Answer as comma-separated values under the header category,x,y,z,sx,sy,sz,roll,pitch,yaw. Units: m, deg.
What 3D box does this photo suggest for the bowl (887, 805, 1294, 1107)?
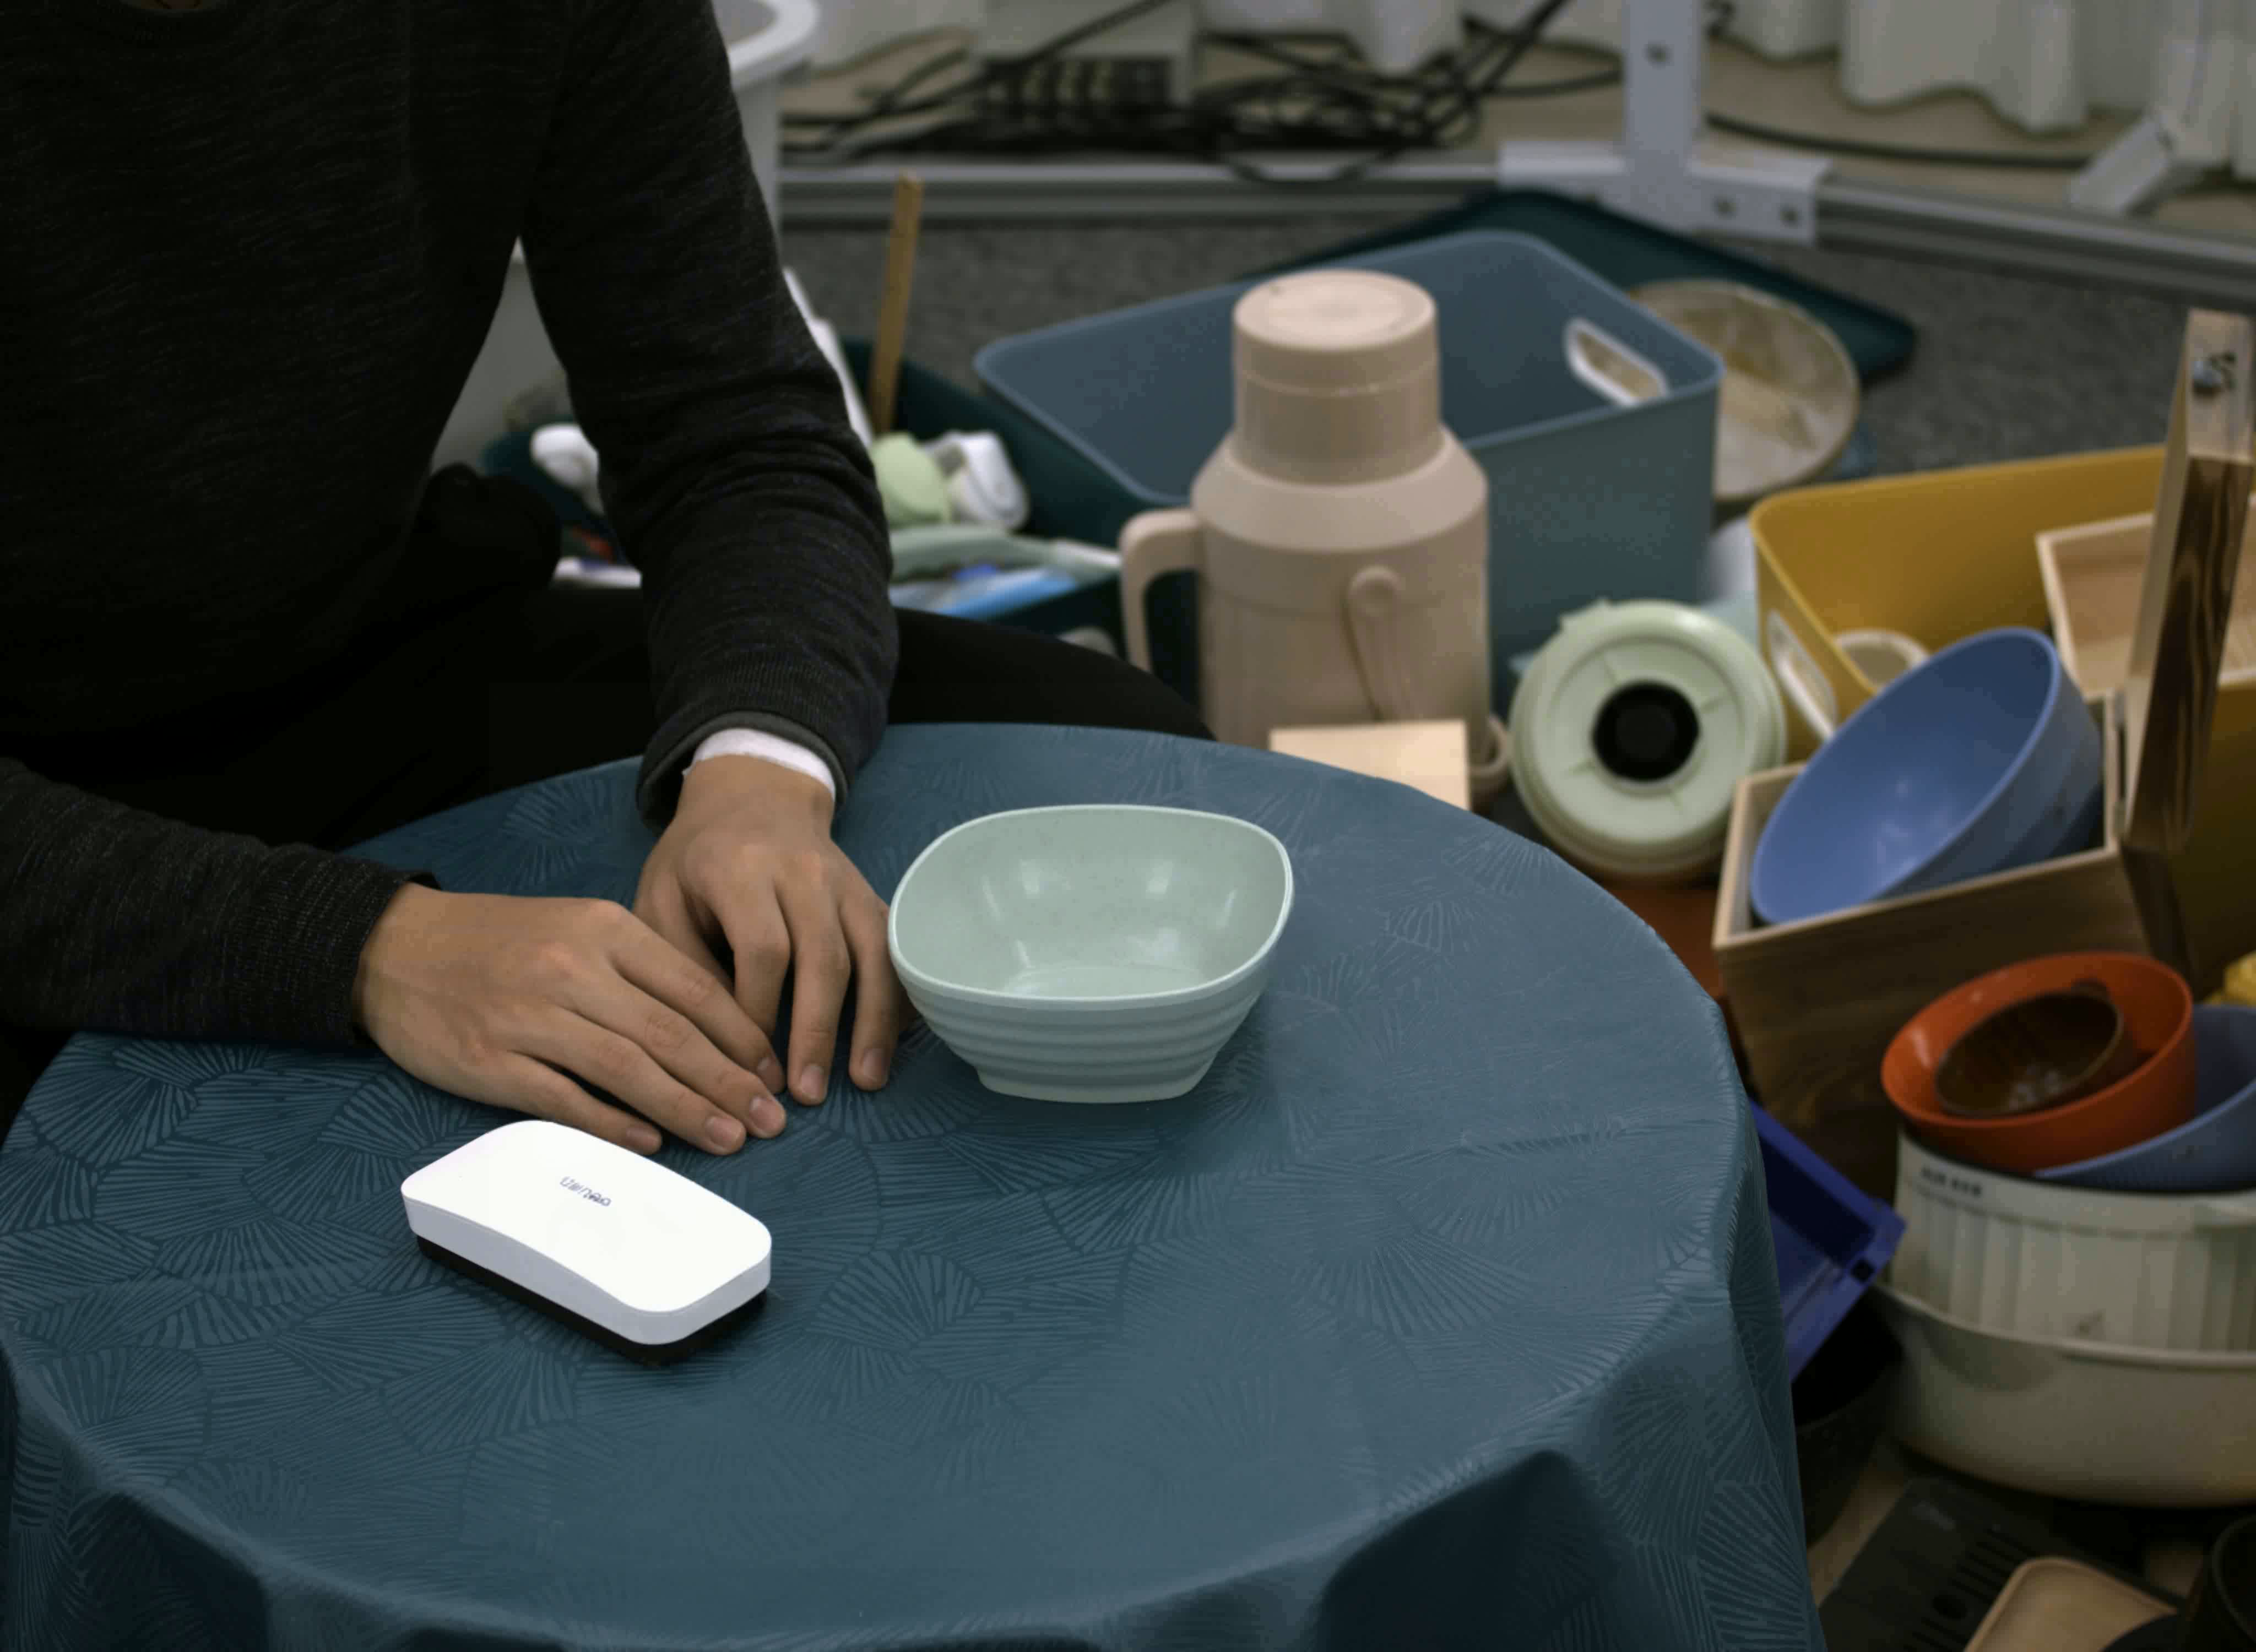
category,x,y,z,sx,sy,sz,roll,pitch,yaw
bowl,-0.012,0.051,1.940,0.151,0.058,0.154,-1,28,1

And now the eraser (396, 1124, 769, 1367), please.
category,x,y,z,sx,sy,sz,roll,pitch,yaw
eraser,-0.177,0.133,1.824,0.131,0.034,0.064,22,34,37
